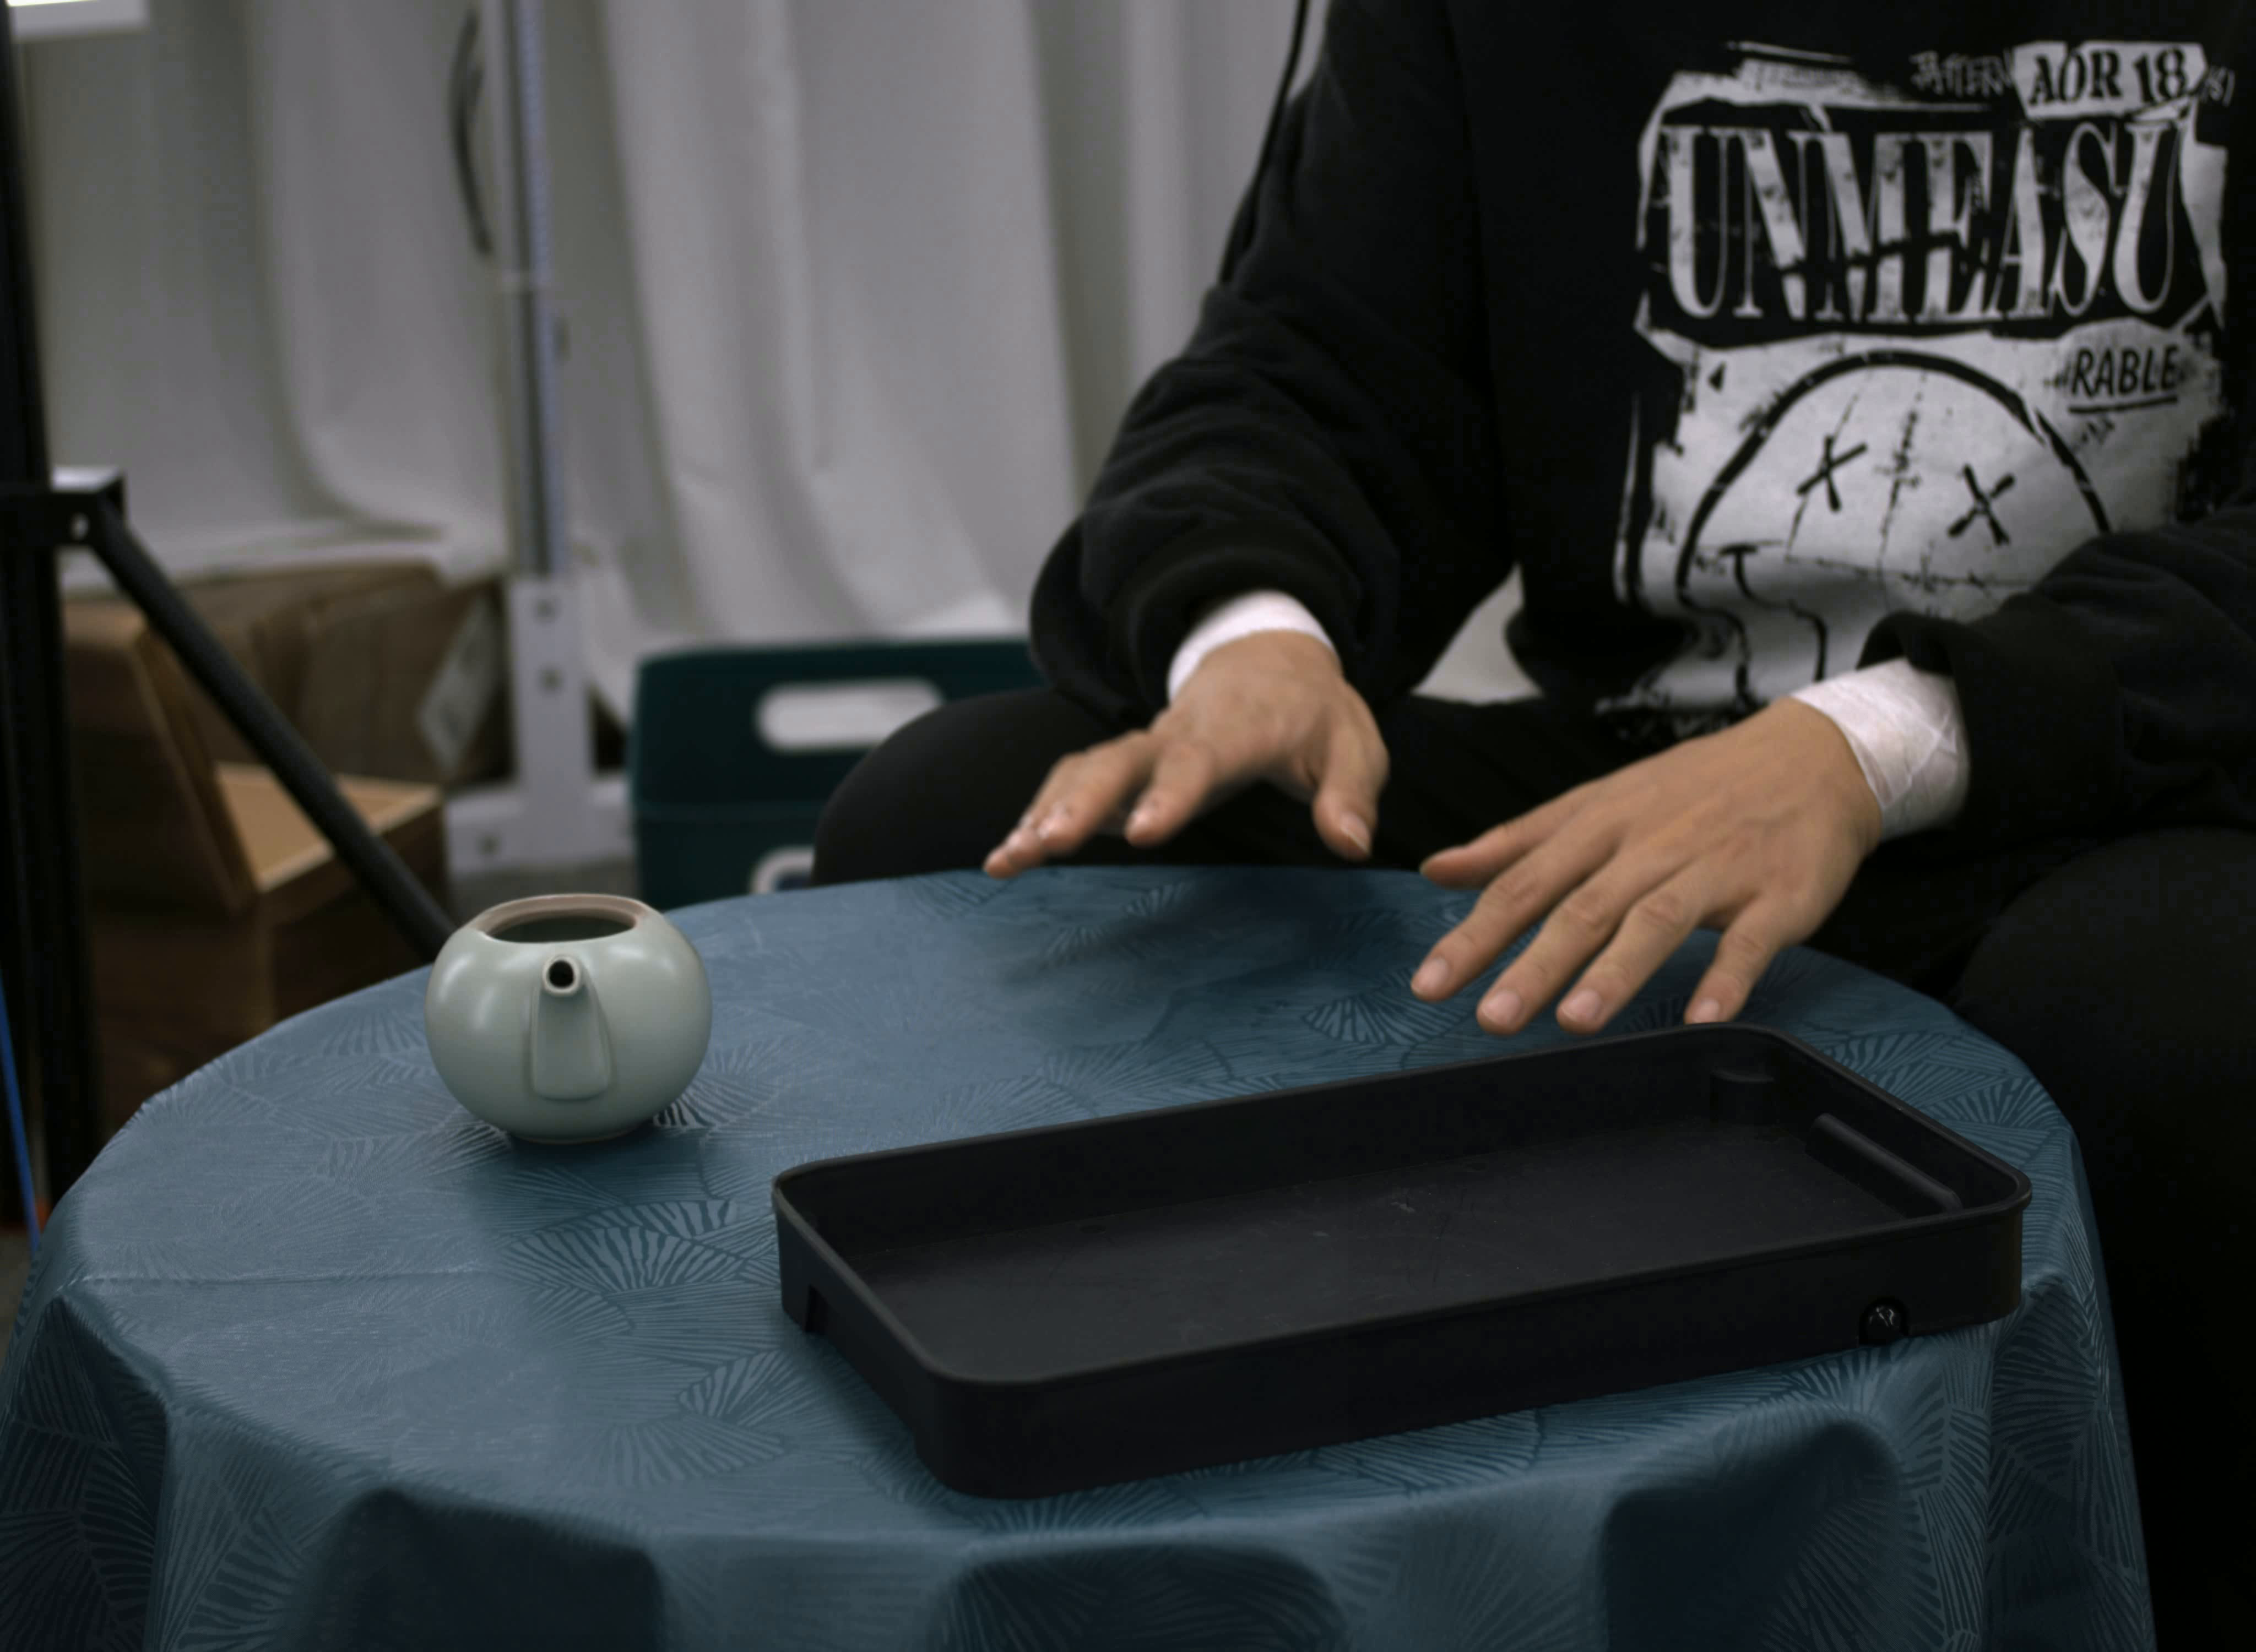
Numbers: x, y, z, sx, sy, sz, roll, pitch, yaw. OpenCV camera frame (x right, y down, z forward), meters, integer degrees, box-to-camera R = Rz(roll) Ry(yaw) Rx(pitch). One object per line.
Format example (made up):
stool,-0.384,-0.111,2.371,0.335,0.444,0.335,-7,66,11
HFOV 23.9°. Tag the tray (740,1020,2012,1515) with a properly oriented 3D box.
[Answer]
tray,0.067,0.116,1.452,0.312,0.037,0.187,-8,17,-19

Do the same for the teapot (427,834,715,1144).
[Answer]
teapot,-0.170,0.056,1.633,0.088,0.074,0.145,-3,17,-3
